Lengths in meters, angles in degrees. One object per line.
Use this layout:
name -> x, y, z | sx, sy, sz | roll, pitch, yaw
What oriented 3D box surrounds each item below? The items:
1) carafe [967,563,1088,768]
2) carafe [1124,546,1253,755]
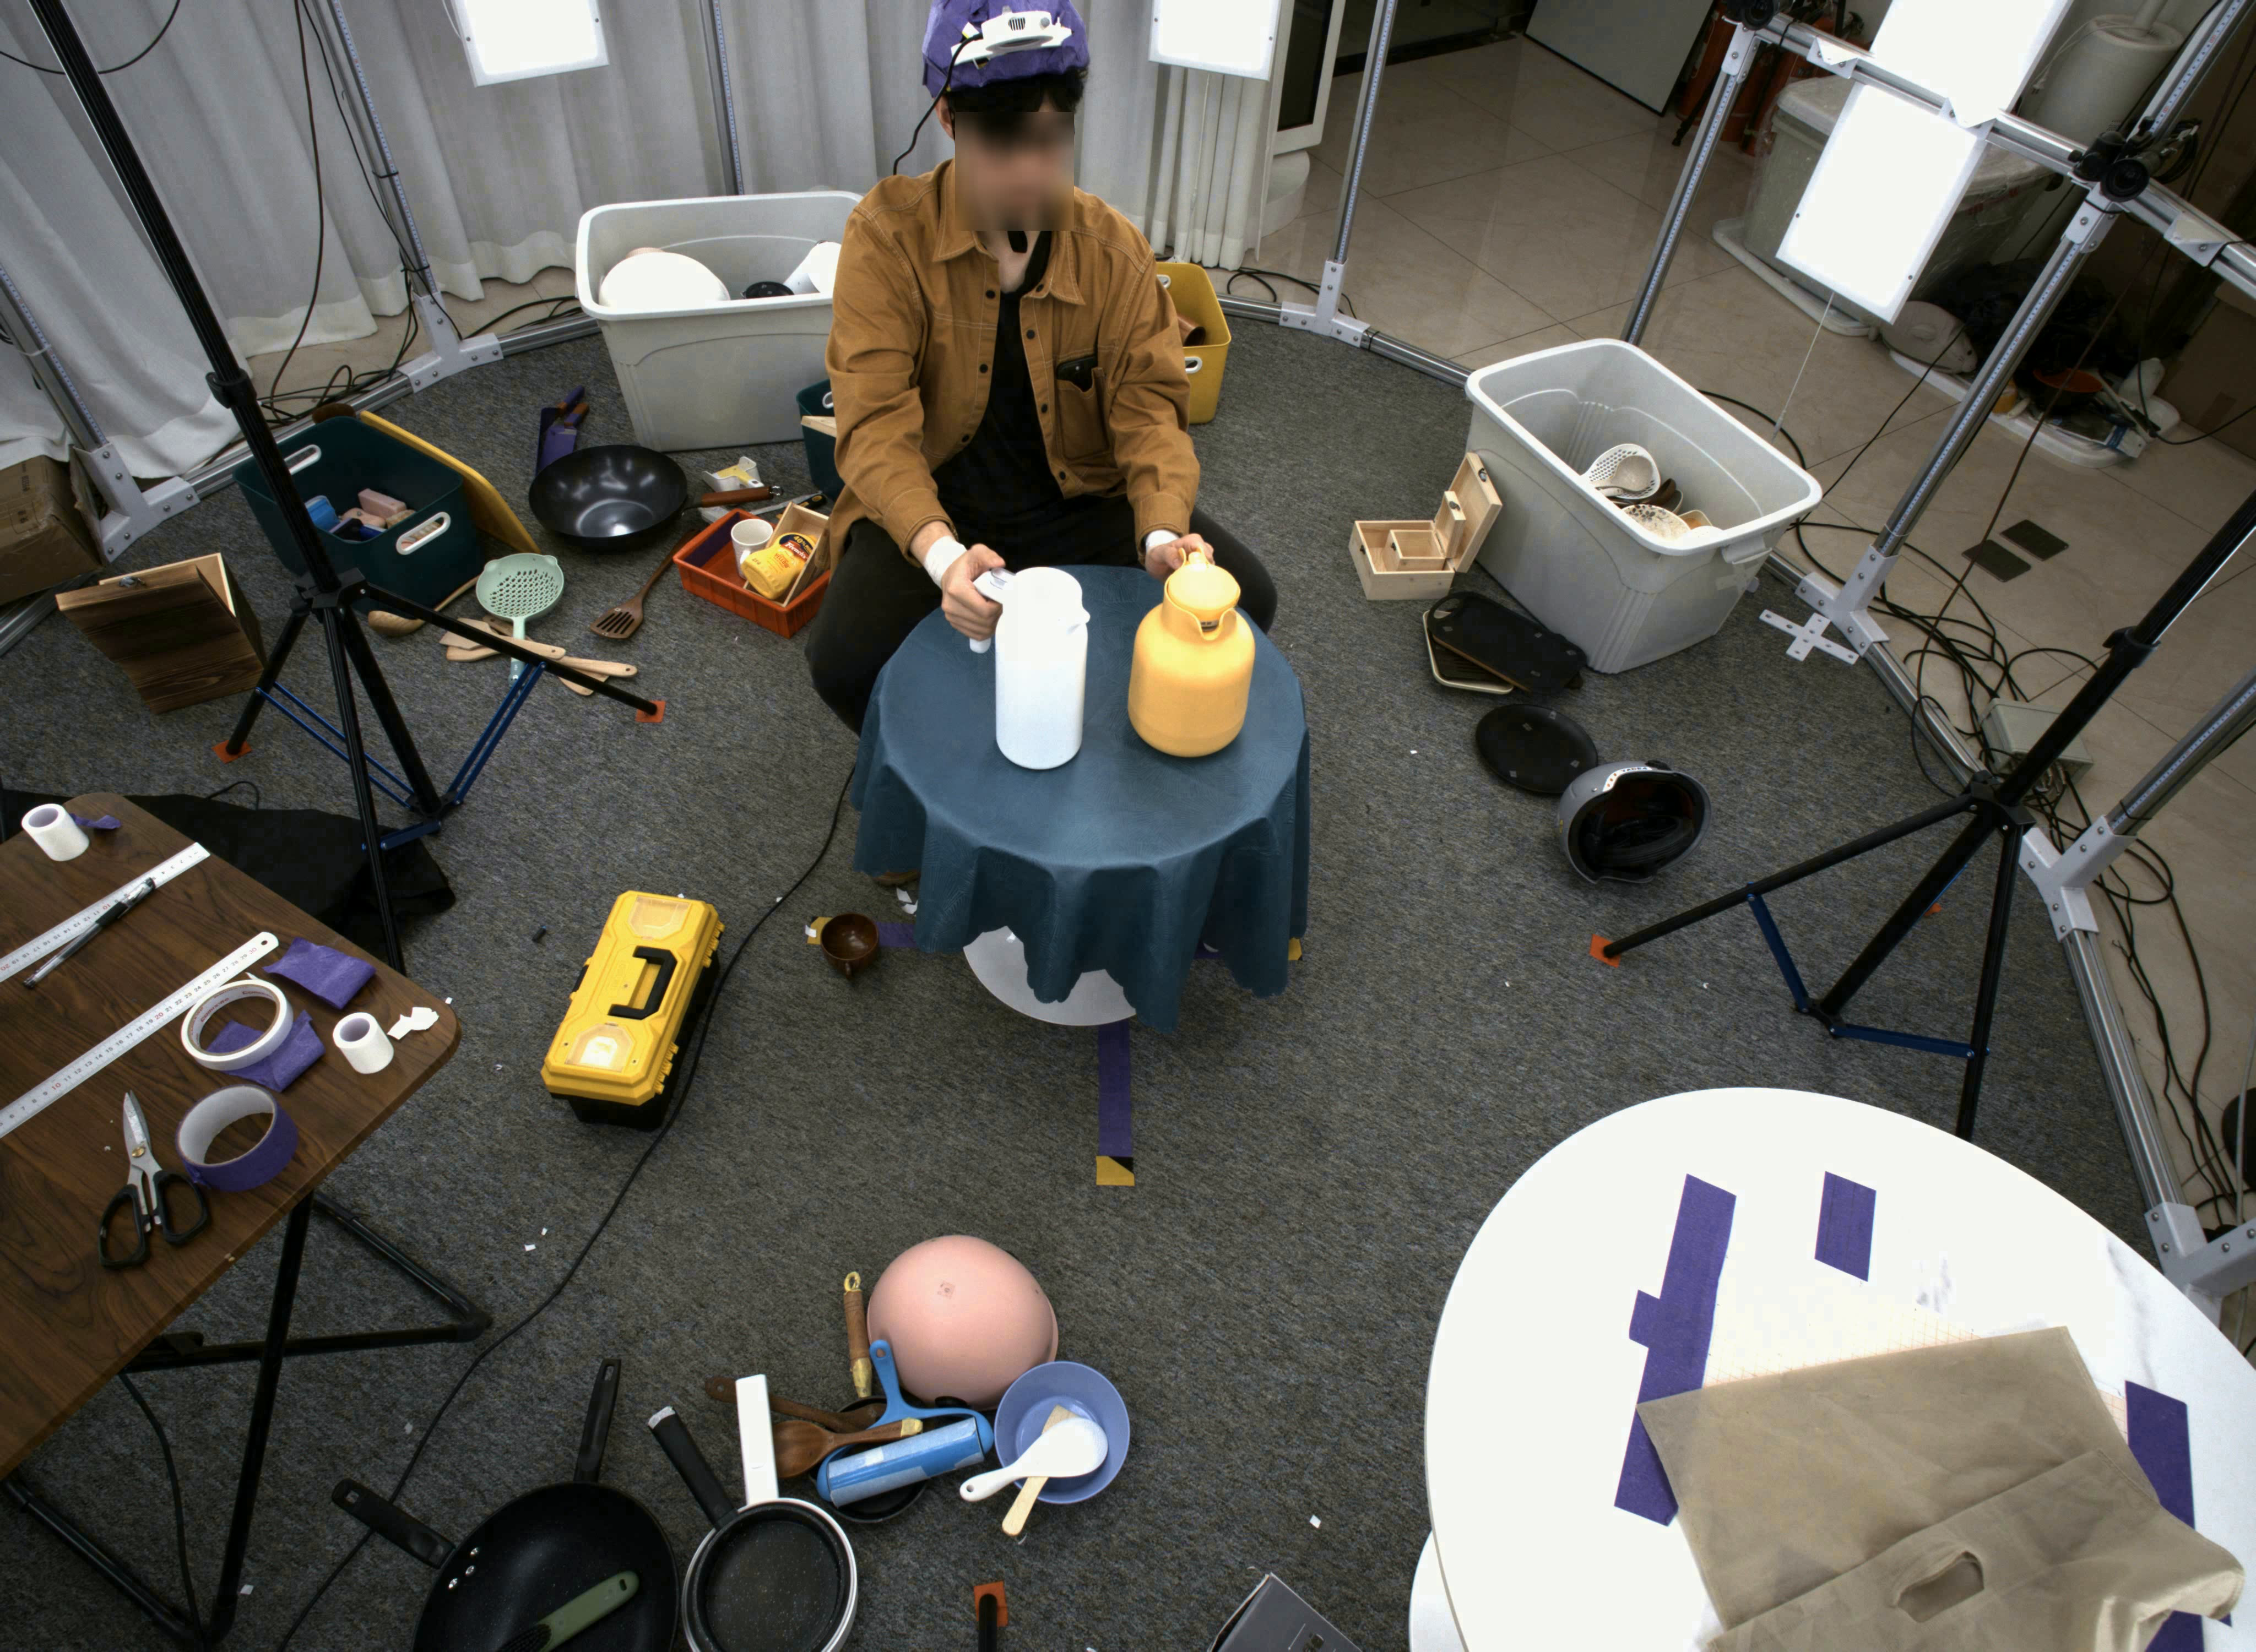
carafe -> -0.131, -0.209, 1.670 | 0.174, 0.262, 0.125 | 28, 55, 18
carafe -> 0.084, -0.241, 1.713 | 0.163, 0.254, 0.207 | 1, 51, -7
